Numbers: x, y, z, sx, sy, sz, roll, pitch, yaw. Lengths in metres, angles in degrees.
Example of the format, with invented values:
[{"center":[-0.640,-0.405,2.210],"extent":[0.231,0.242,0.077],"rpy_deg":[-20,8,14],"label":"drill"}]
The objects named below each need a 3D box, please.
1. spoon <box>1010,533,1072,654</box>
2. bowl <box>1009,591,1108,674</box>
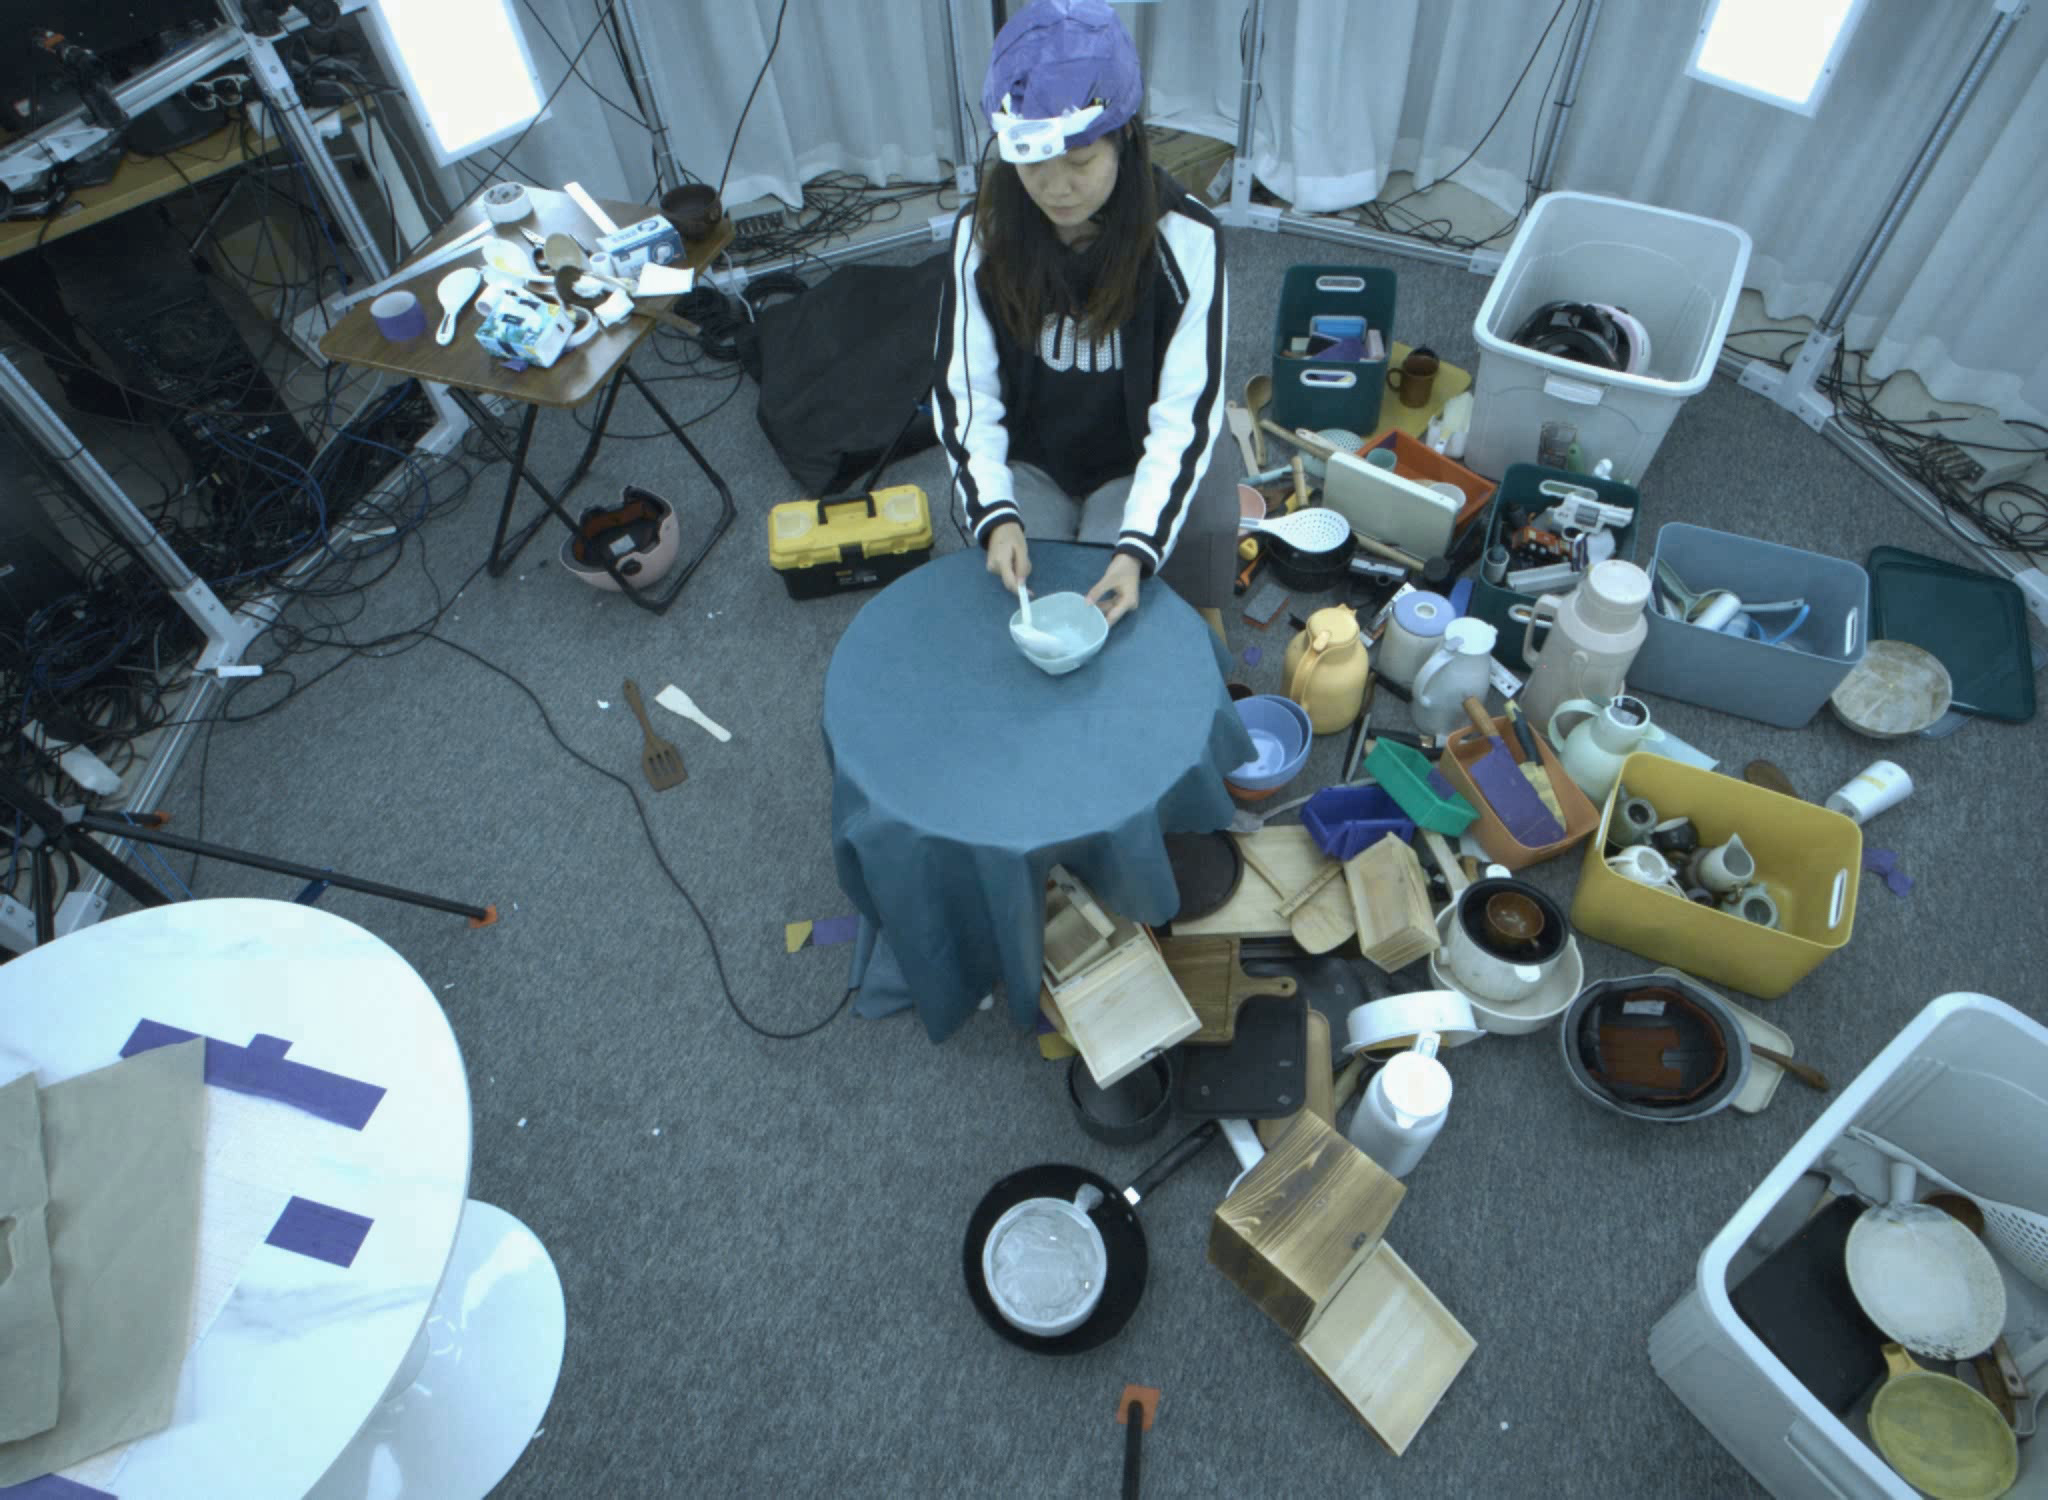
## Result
[{"center":[0.019,-0.246,1.868],"extent":[0.103,0.059,0.274],"rpy_deg":[20,49,-31],"label":"spoon"},{"center":[0.053,-0.169,1.869],"extent":[0.151,0.059,0.150],"rpy_deg":[-2,51,3],"label":"bowl"}]
